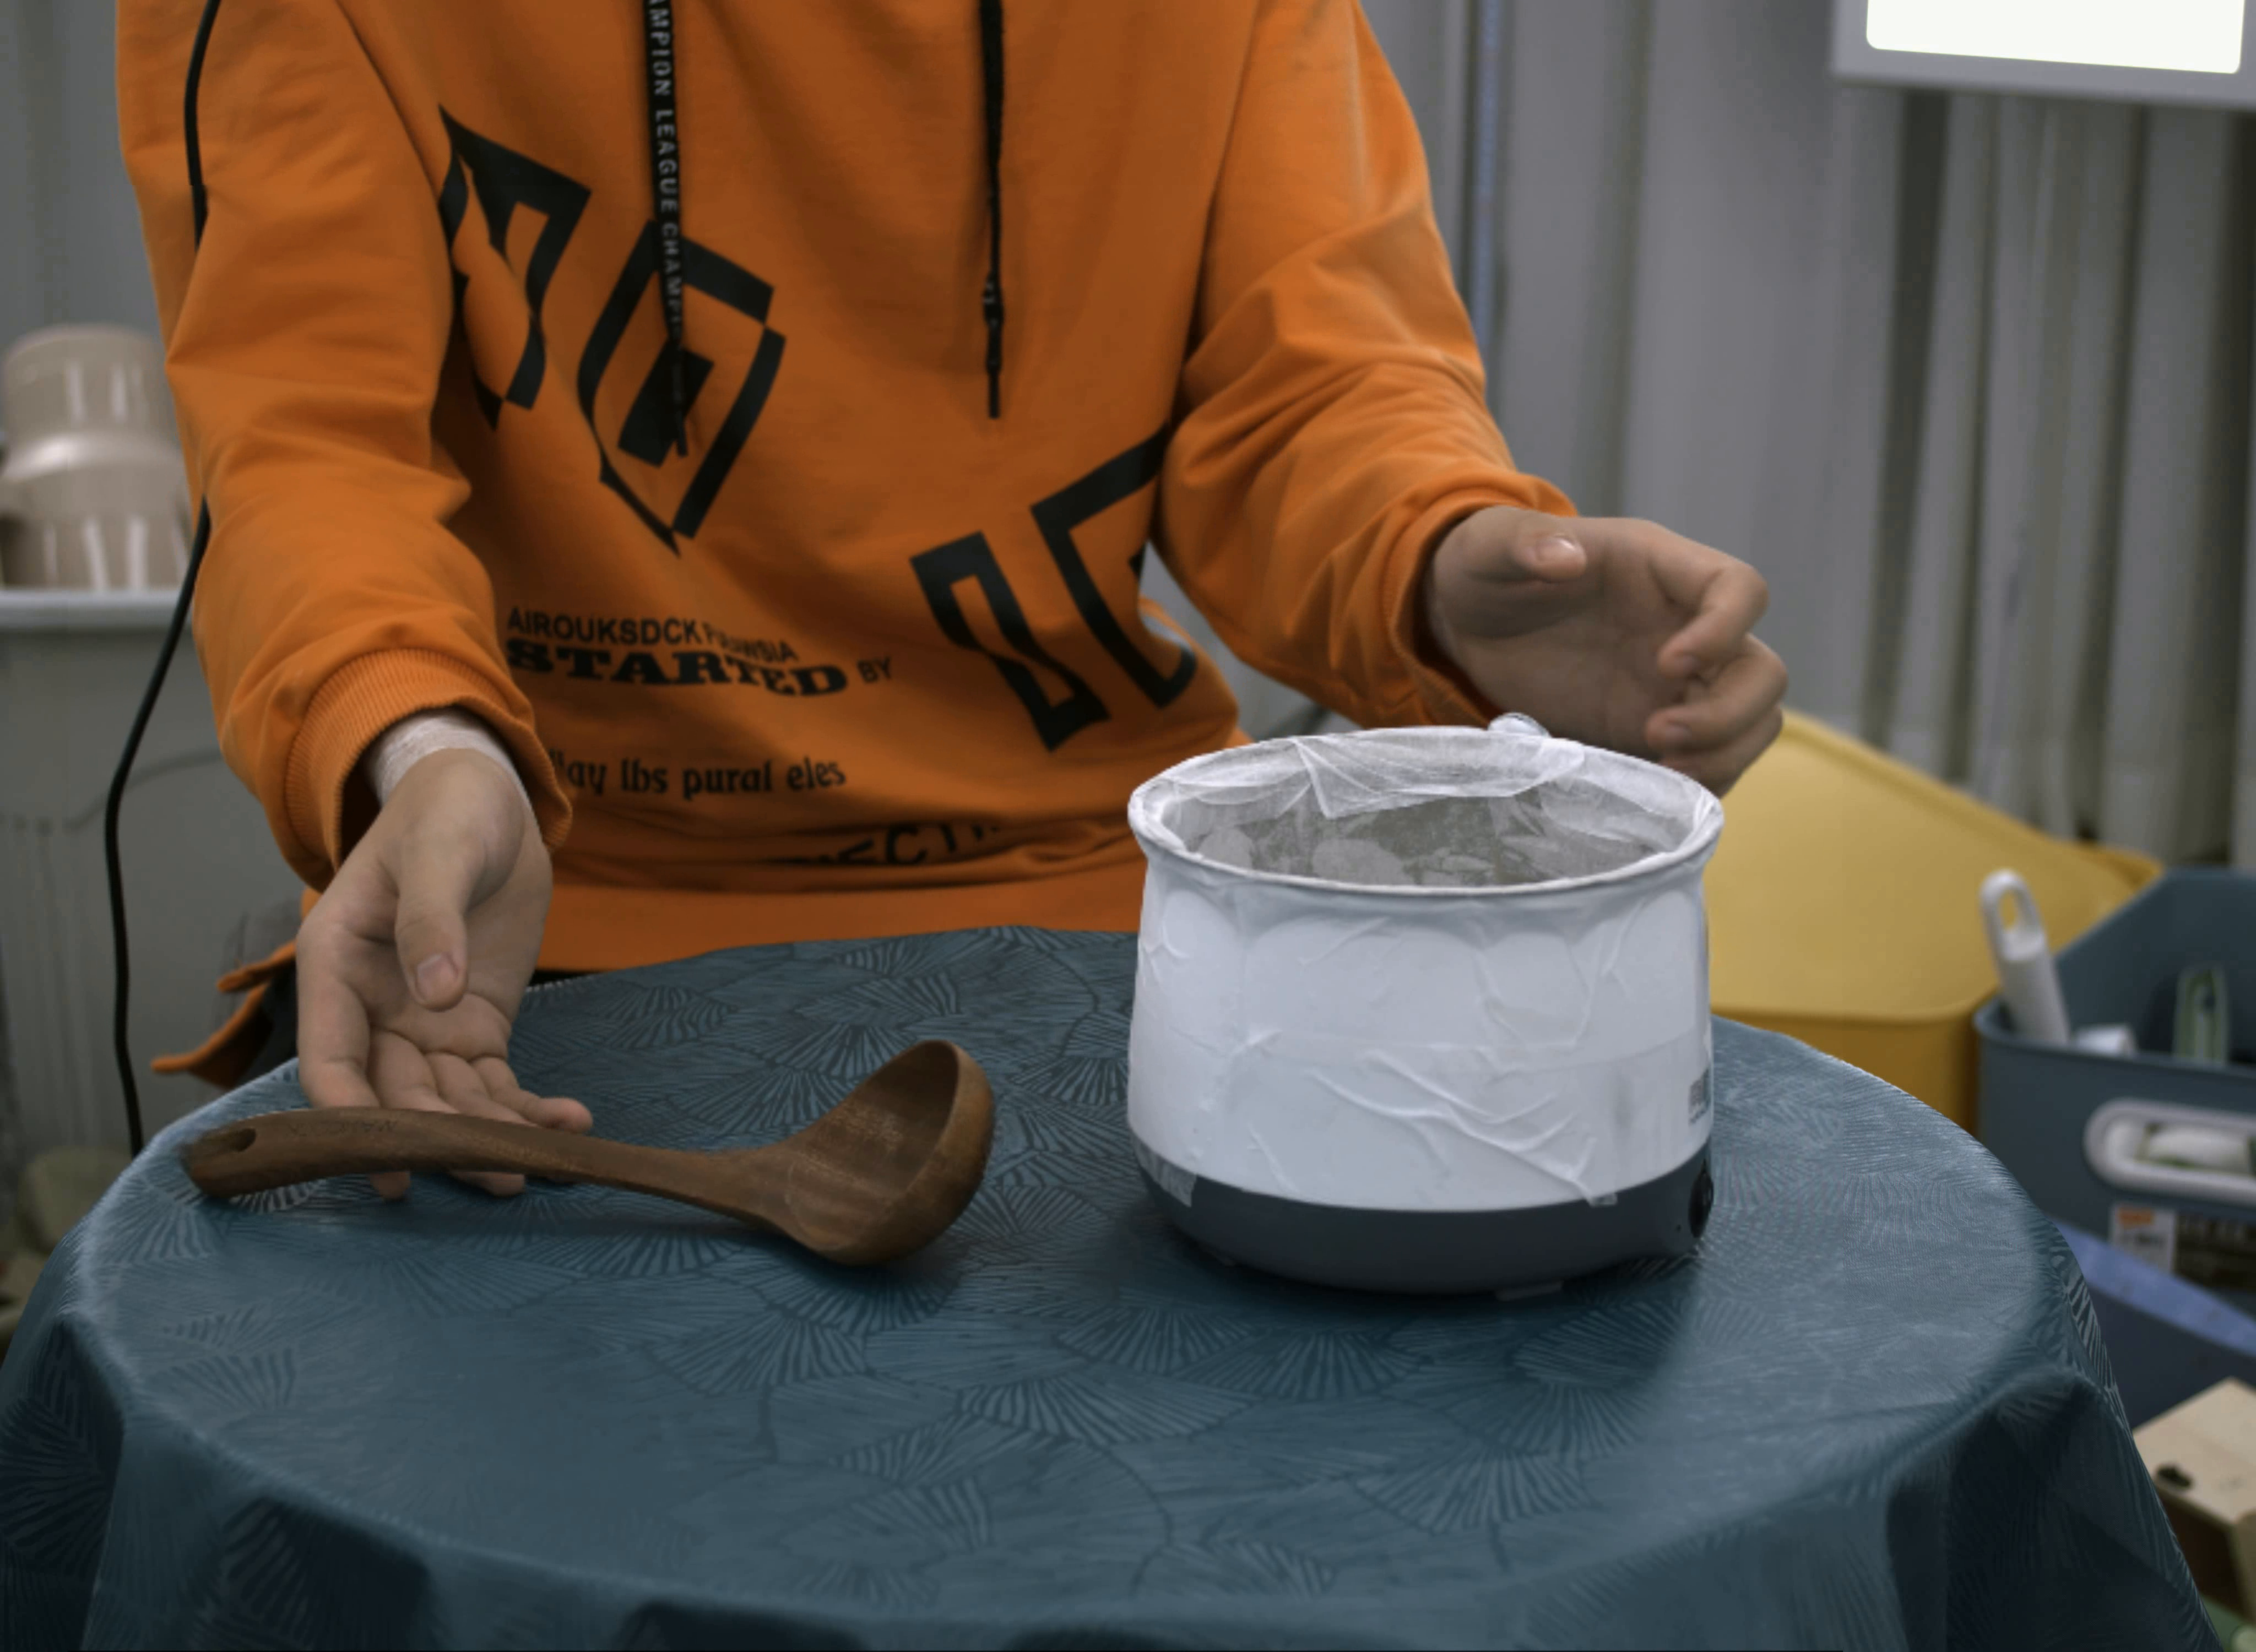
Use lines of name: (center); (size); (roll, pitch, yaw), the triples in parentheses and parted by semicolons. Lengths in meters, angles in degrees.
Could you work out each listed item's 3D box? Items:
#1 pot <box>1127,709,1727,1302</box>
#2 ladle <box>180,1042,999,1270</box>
pot: (0.096, 0.048, 1.601); (0.177, 0.138, 0.234); (6, 17, 17)
ladle: (-0.165, 0.093, 1.575); (0.258, 0.066, 0.076); (4, 41, 10)
